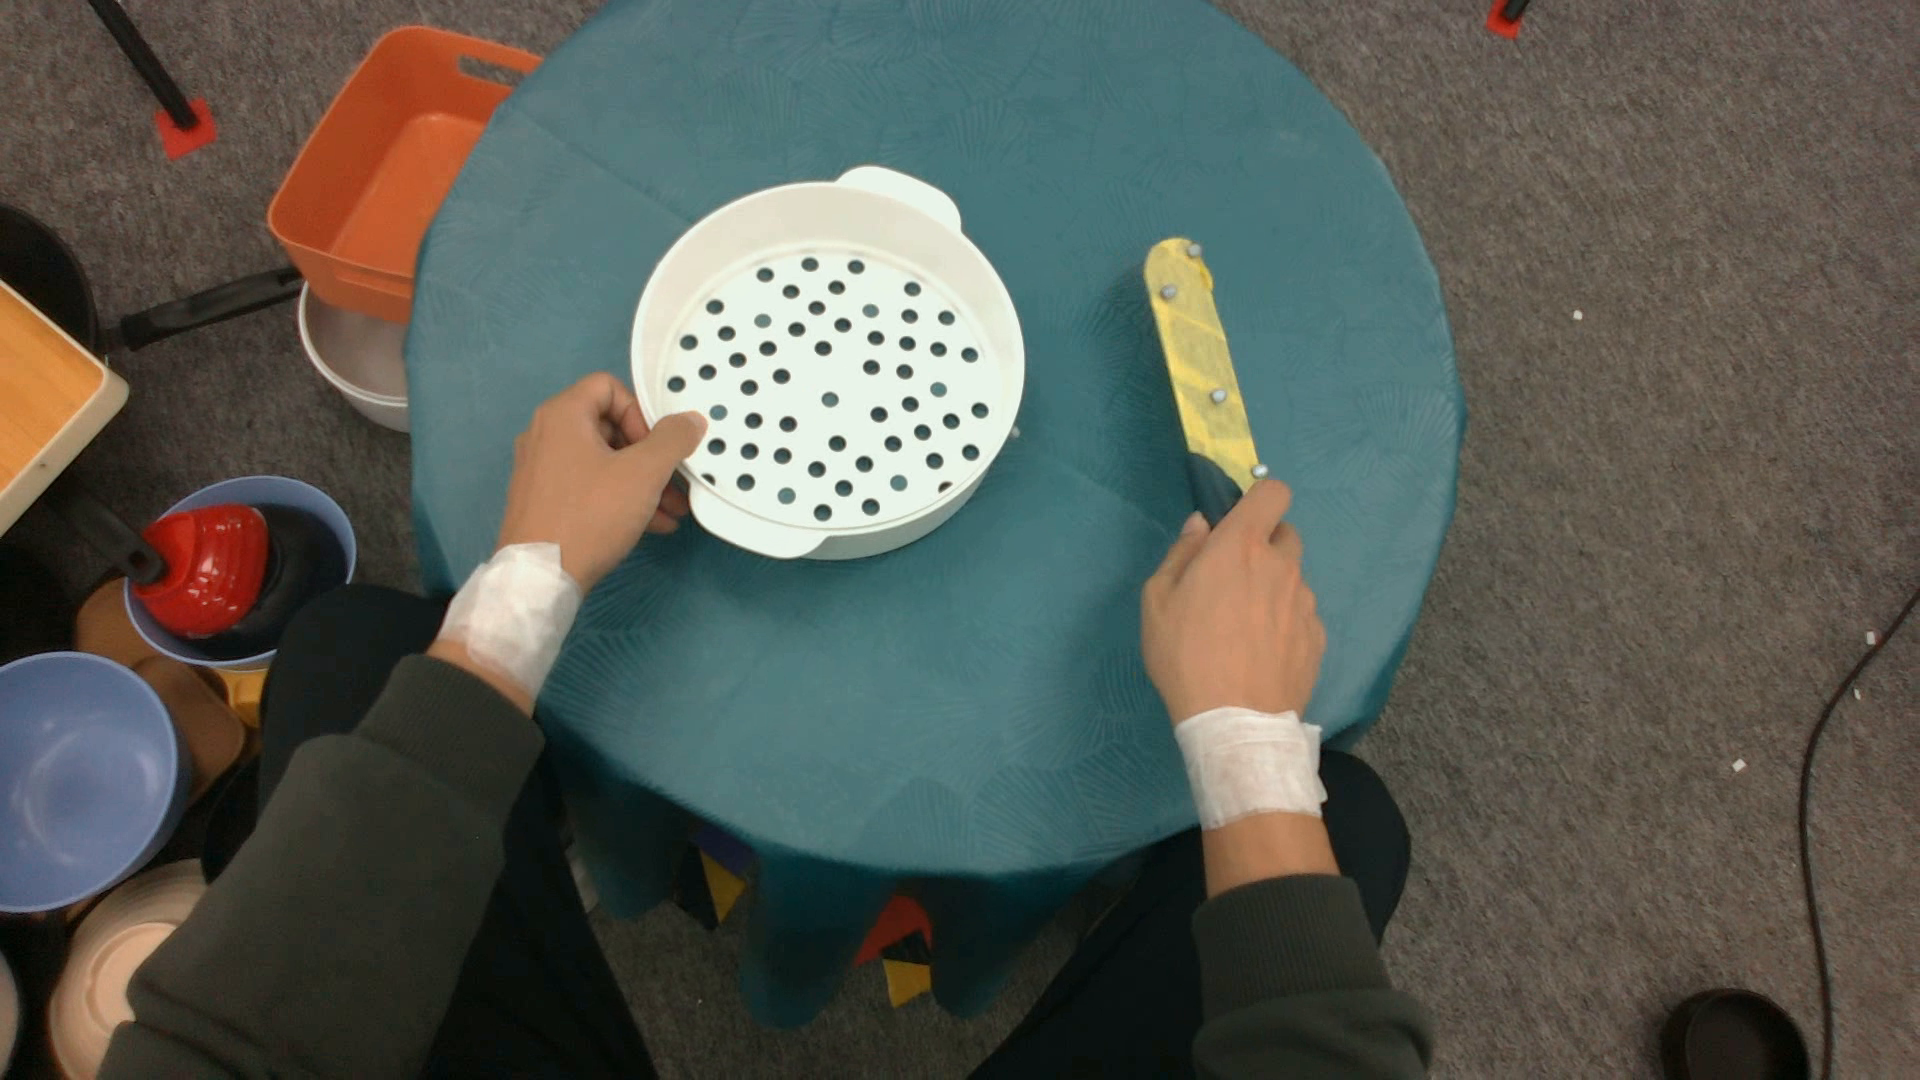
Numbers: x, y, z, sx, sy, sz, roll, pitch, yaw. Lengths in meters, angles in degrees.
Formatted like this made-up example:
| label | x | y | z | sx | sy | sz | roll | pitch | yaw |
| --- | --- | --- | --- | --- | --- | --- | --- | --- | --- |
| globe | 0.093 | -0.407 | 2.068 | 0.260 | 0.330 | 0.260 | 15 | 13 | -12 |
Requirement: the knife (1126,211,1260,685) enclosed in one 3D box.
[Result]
| label | x | y | z | sx | sy | sz | roll | pitch | yaw |
| --- | --- | --- | --- | --- | --- | --- | --- | --- | --- |
| knife | 0.129 | -0.059 | 0.744 | 0.081 | 0.027 | 0.290 | 18 | 57 | -44 |

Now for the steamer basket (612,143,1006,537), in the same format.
| label | x | y | z | sx | sy | sz | roll | pitch | yaw |
| --- | --- | --- | --- | --- | --- | --- | --- | --- | --- |
| steamer basket | -0.079 | -0.100 | 0.735 | 0.202 | 0.069 | 0.231 | 21 | 71 | 1 |
